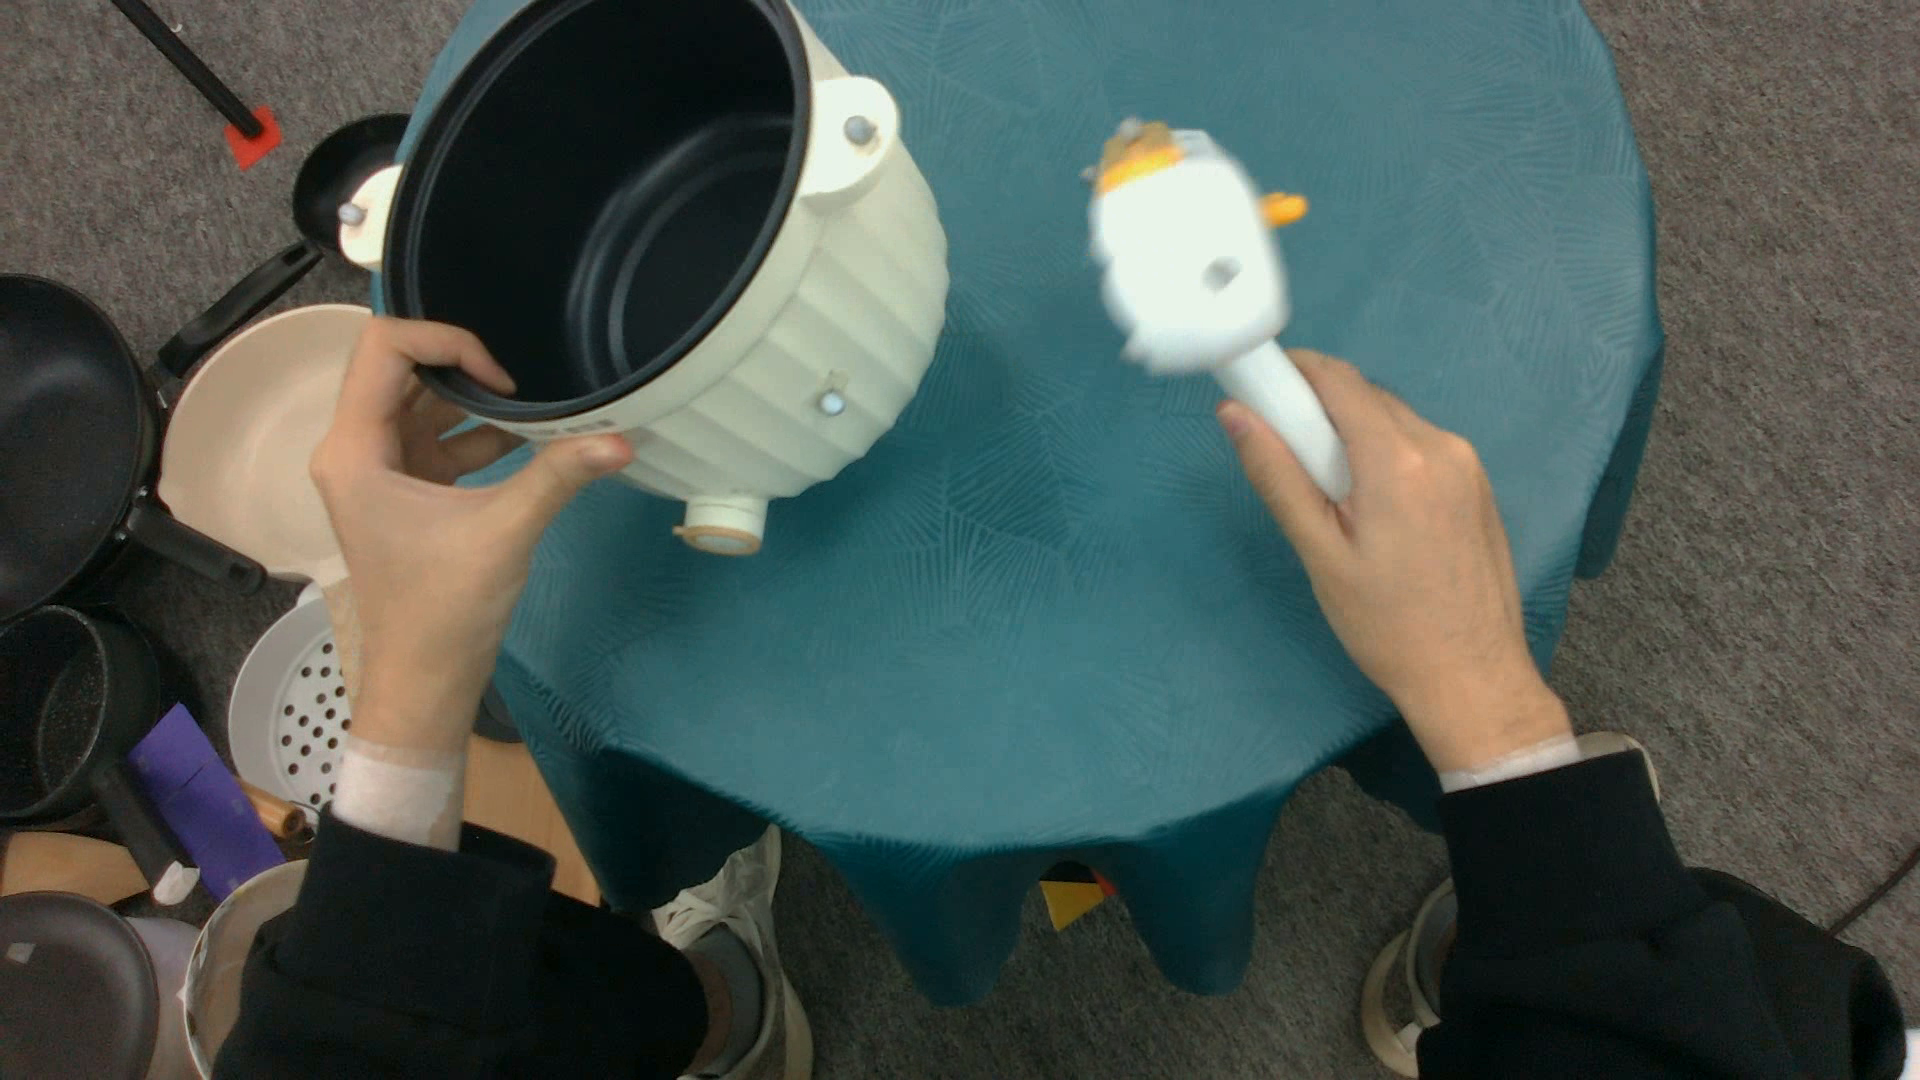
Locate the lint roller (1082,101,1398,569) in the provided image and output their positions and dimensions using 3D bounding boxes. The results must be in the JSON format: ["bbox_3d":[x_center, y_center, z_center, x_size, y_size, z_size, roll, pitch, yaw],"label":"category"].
[{"bbox_3d":[0.108,-0.069,0.509,0.074,0.193,0.192,-22,107,0],"label":"lint roller"}]

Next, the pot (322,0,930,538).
[{"bbox_3d":[-0.105,-0.108,0.528,0.240,0.142,0.191,-4,69,23],"label":"pot"}]
